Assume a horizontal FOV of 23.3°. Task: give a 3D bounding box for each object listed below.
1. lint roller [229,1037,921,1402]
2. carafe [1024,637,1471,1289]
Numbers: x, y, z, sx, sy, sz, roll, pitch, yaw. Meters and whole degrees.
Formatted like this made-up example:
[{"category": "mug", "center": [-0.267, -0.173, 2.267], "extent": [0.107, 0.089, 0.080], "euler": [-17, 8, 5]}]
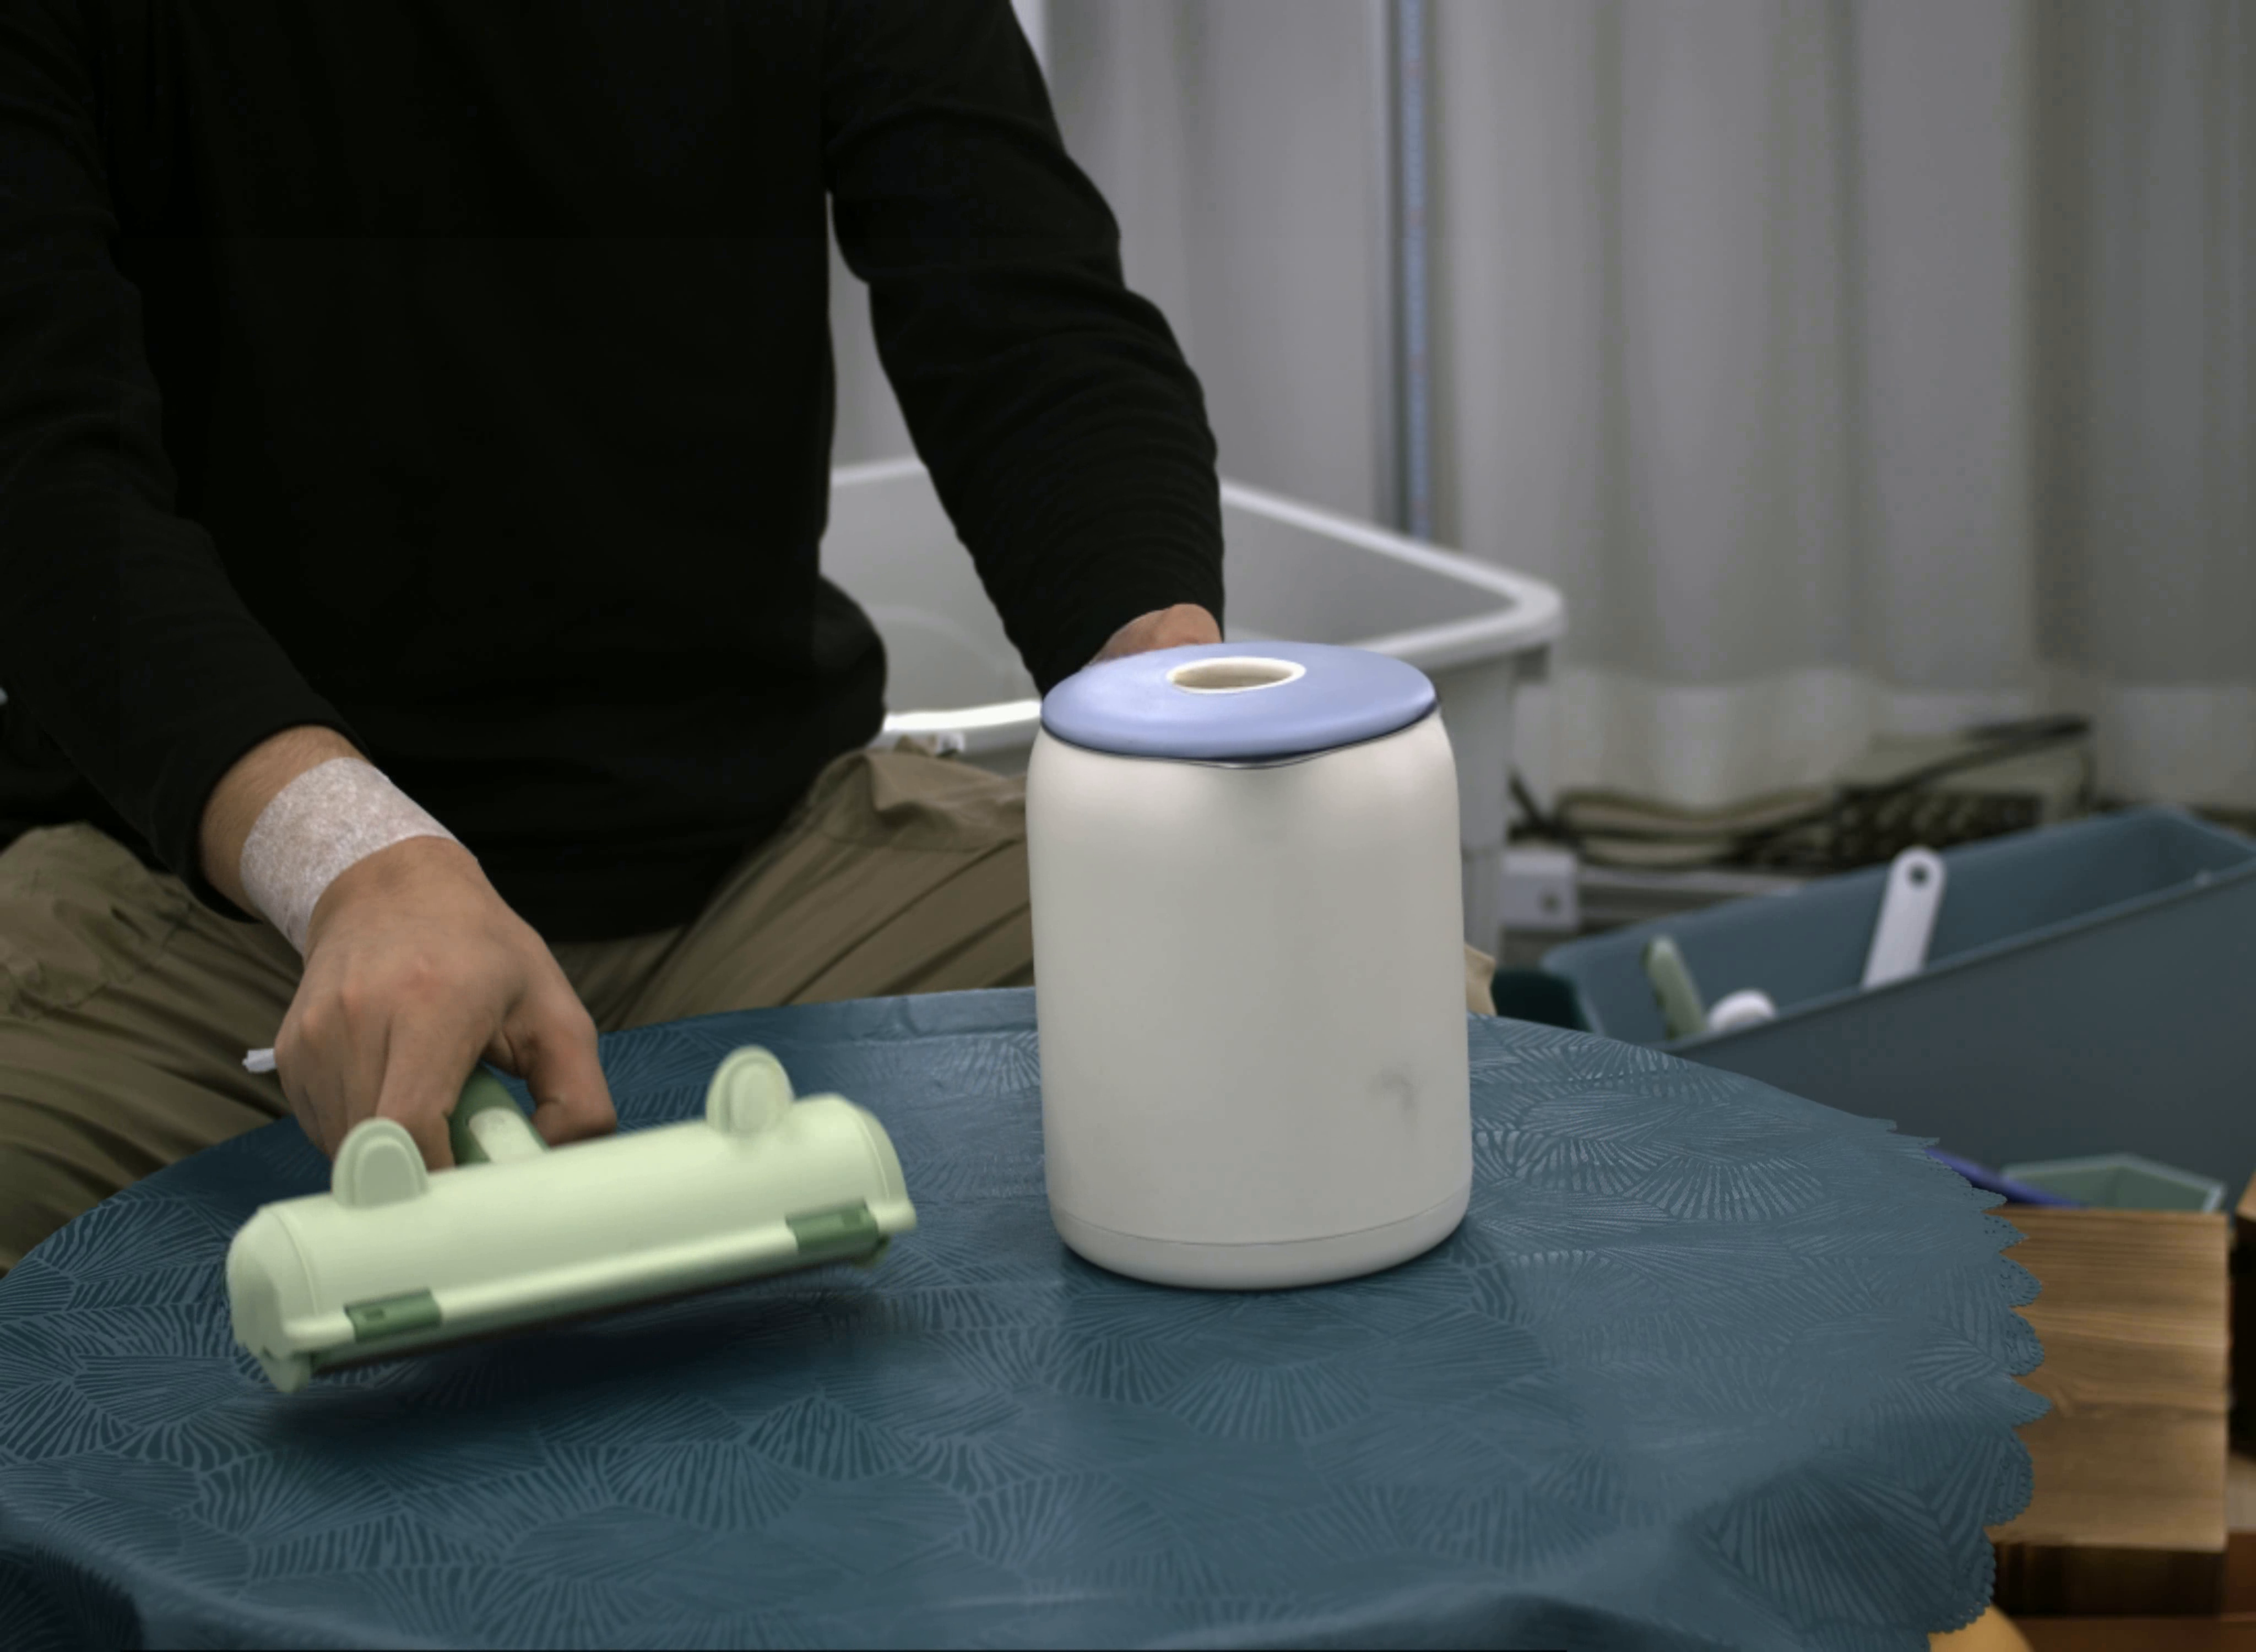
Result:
[{"category": "lint roller", "center": [-0.184, 0.090, 1.616], "extent": [0.198, 0.081, 0.186], "euler": [-9, 33, -27]}, {"category": "carafe", "center": [0.033, 0.035, 1.677], "extent": [0.131, 0.182, 0.192], "euler": [-4, 12, -7]}]
